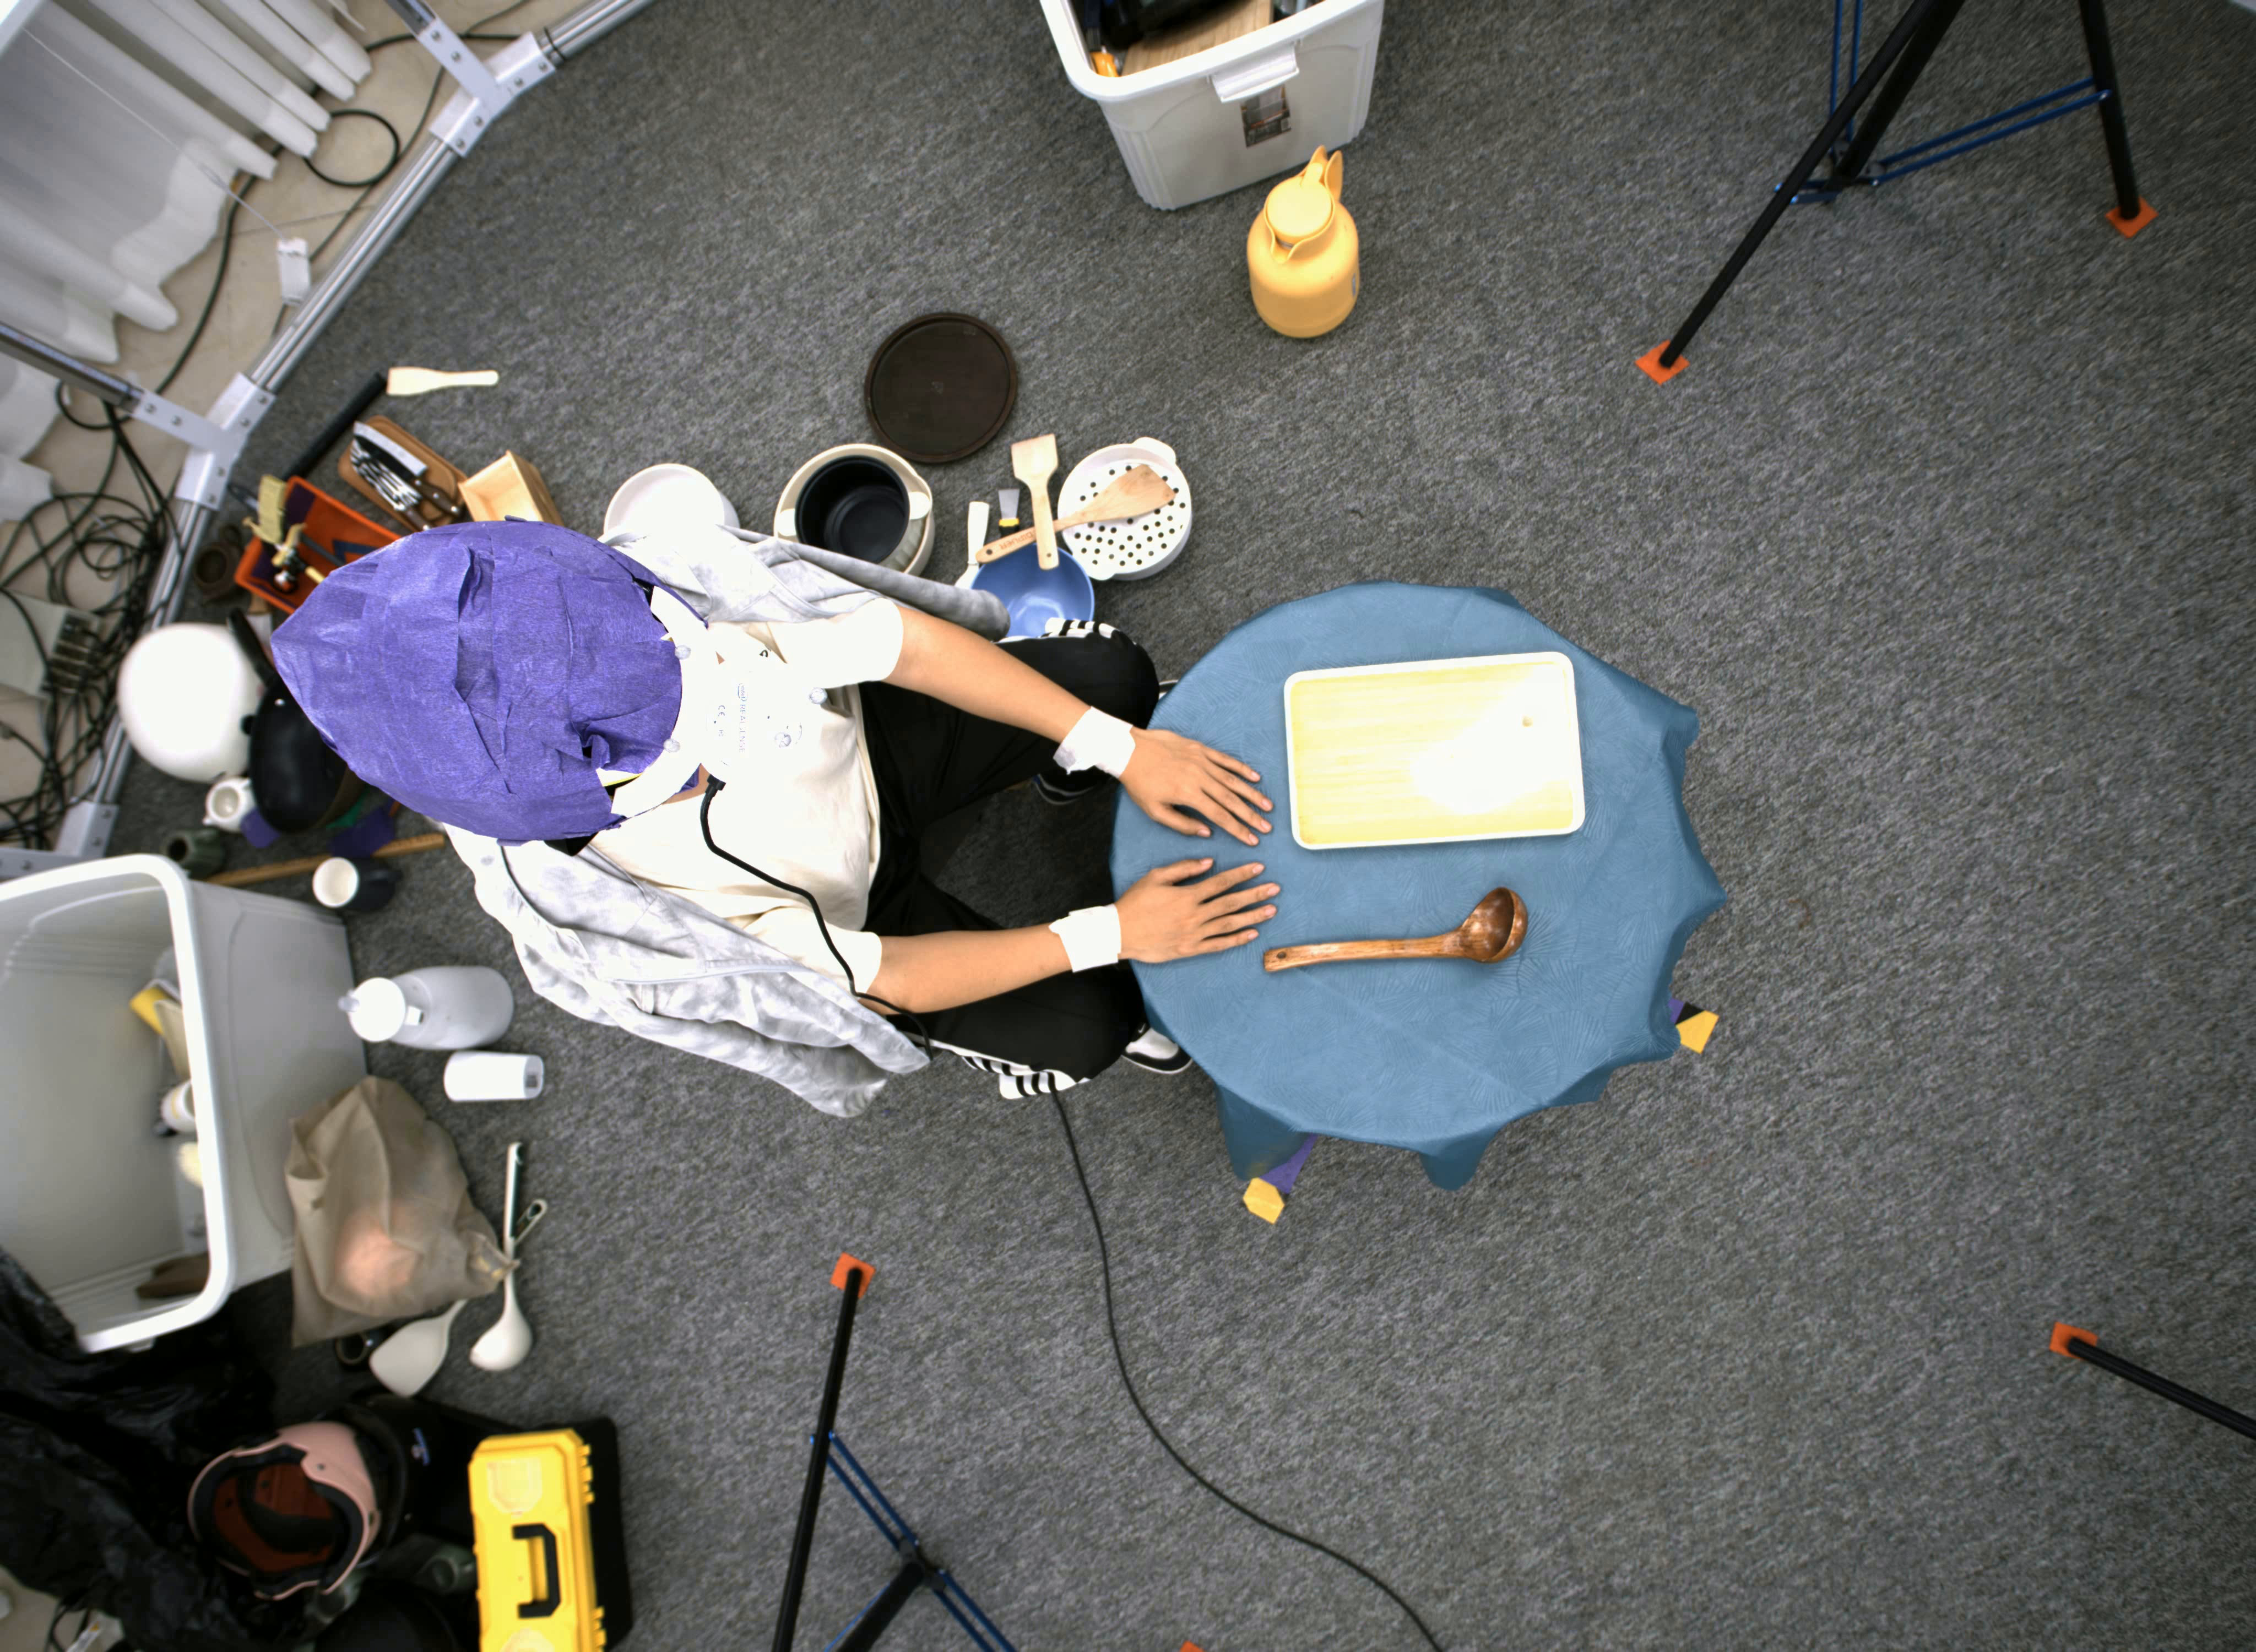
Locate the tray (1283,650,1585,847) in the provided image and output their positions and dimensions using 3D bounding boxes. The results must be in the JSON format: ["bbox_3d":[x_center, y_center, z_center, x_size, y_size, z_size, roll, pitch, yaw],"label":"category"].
[{"bbox_3d":[0.318,-0.081,1.443,0.301,0.027,0.191,-3,86,11],"label":"tray"}]

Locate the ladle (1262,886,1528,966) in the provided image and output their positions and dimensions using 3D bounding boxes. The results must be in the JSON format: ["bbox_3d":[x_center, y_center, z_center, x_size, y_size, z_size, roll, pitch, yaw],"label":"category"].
[{"bbox_3d":[0.271,0.109,1.420,0.275,0.078,0.079,-4,46,11],"label":"ladle"}]
